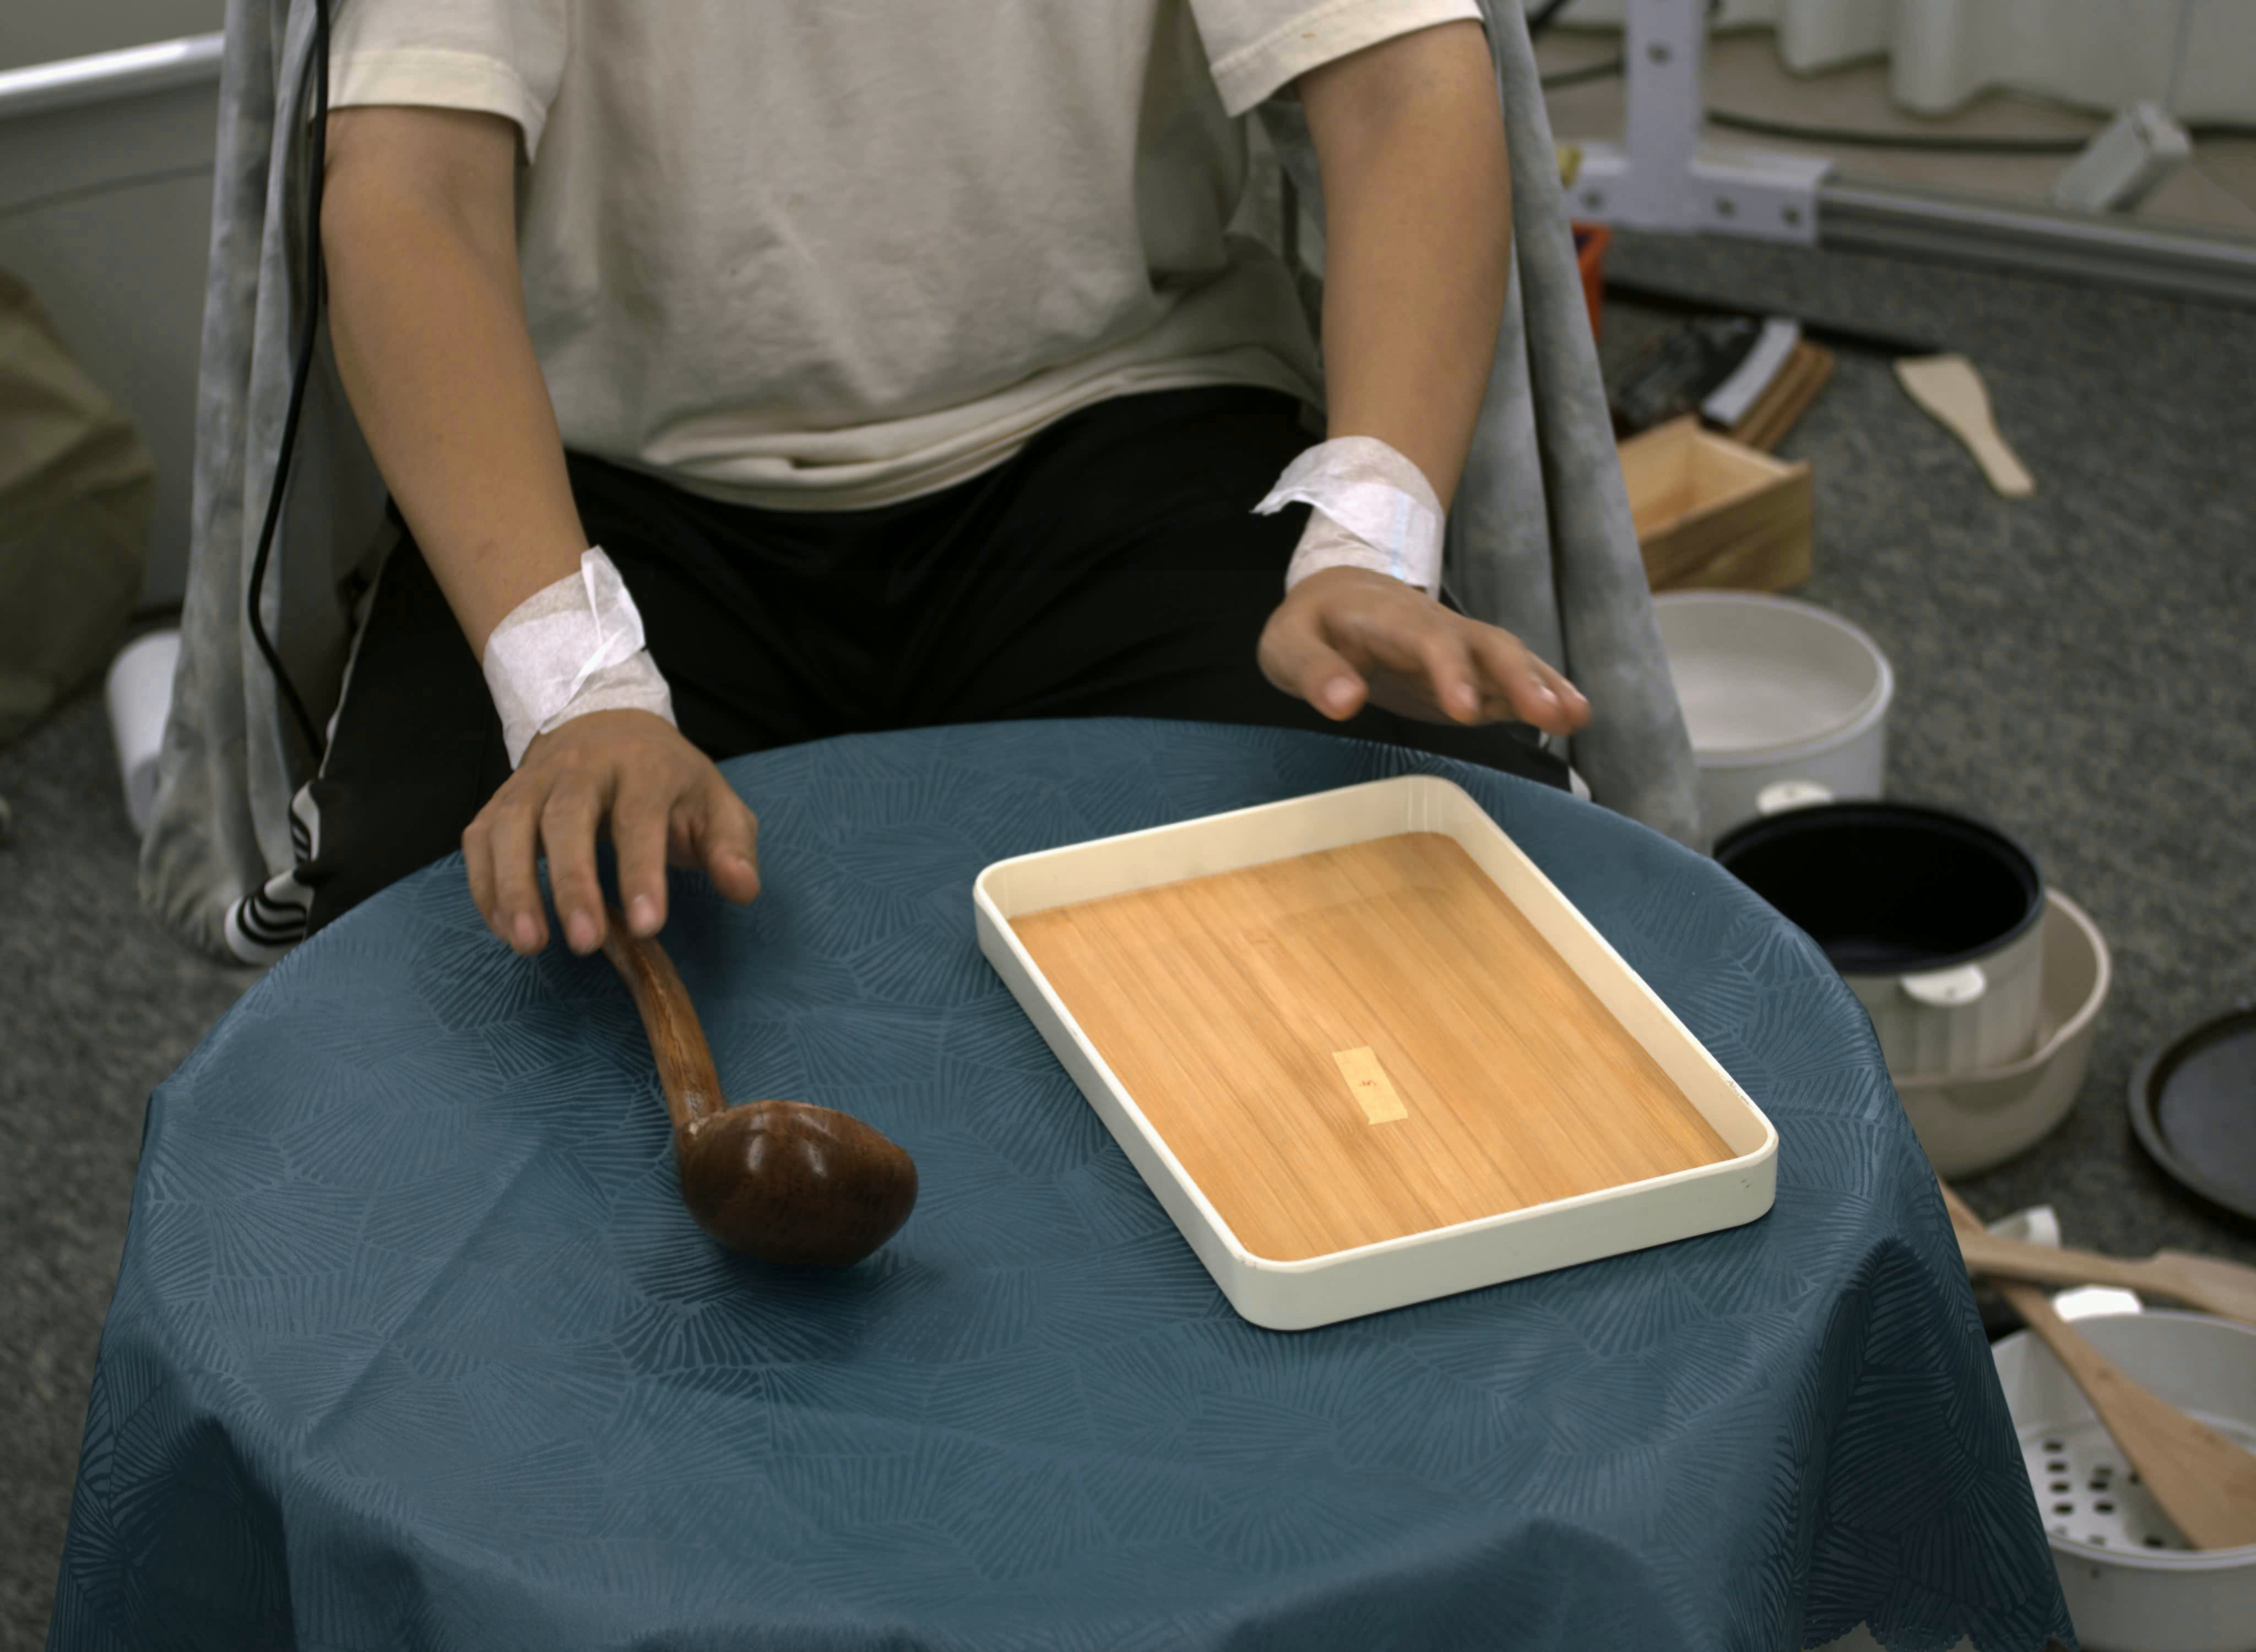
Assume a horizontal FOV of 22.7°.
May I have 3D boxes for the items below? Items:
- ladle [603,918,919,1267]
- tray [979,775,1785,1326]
[{"bbox_3d":[-0.134,0.070,1.899,0.081,0.076,0.277,30,15,-24],"label":"ladle"},{"bbox_3d":[0.080,0.071,1.921,0.192,0.027,0.303,-11,28,-16],"label":"tray"}]
